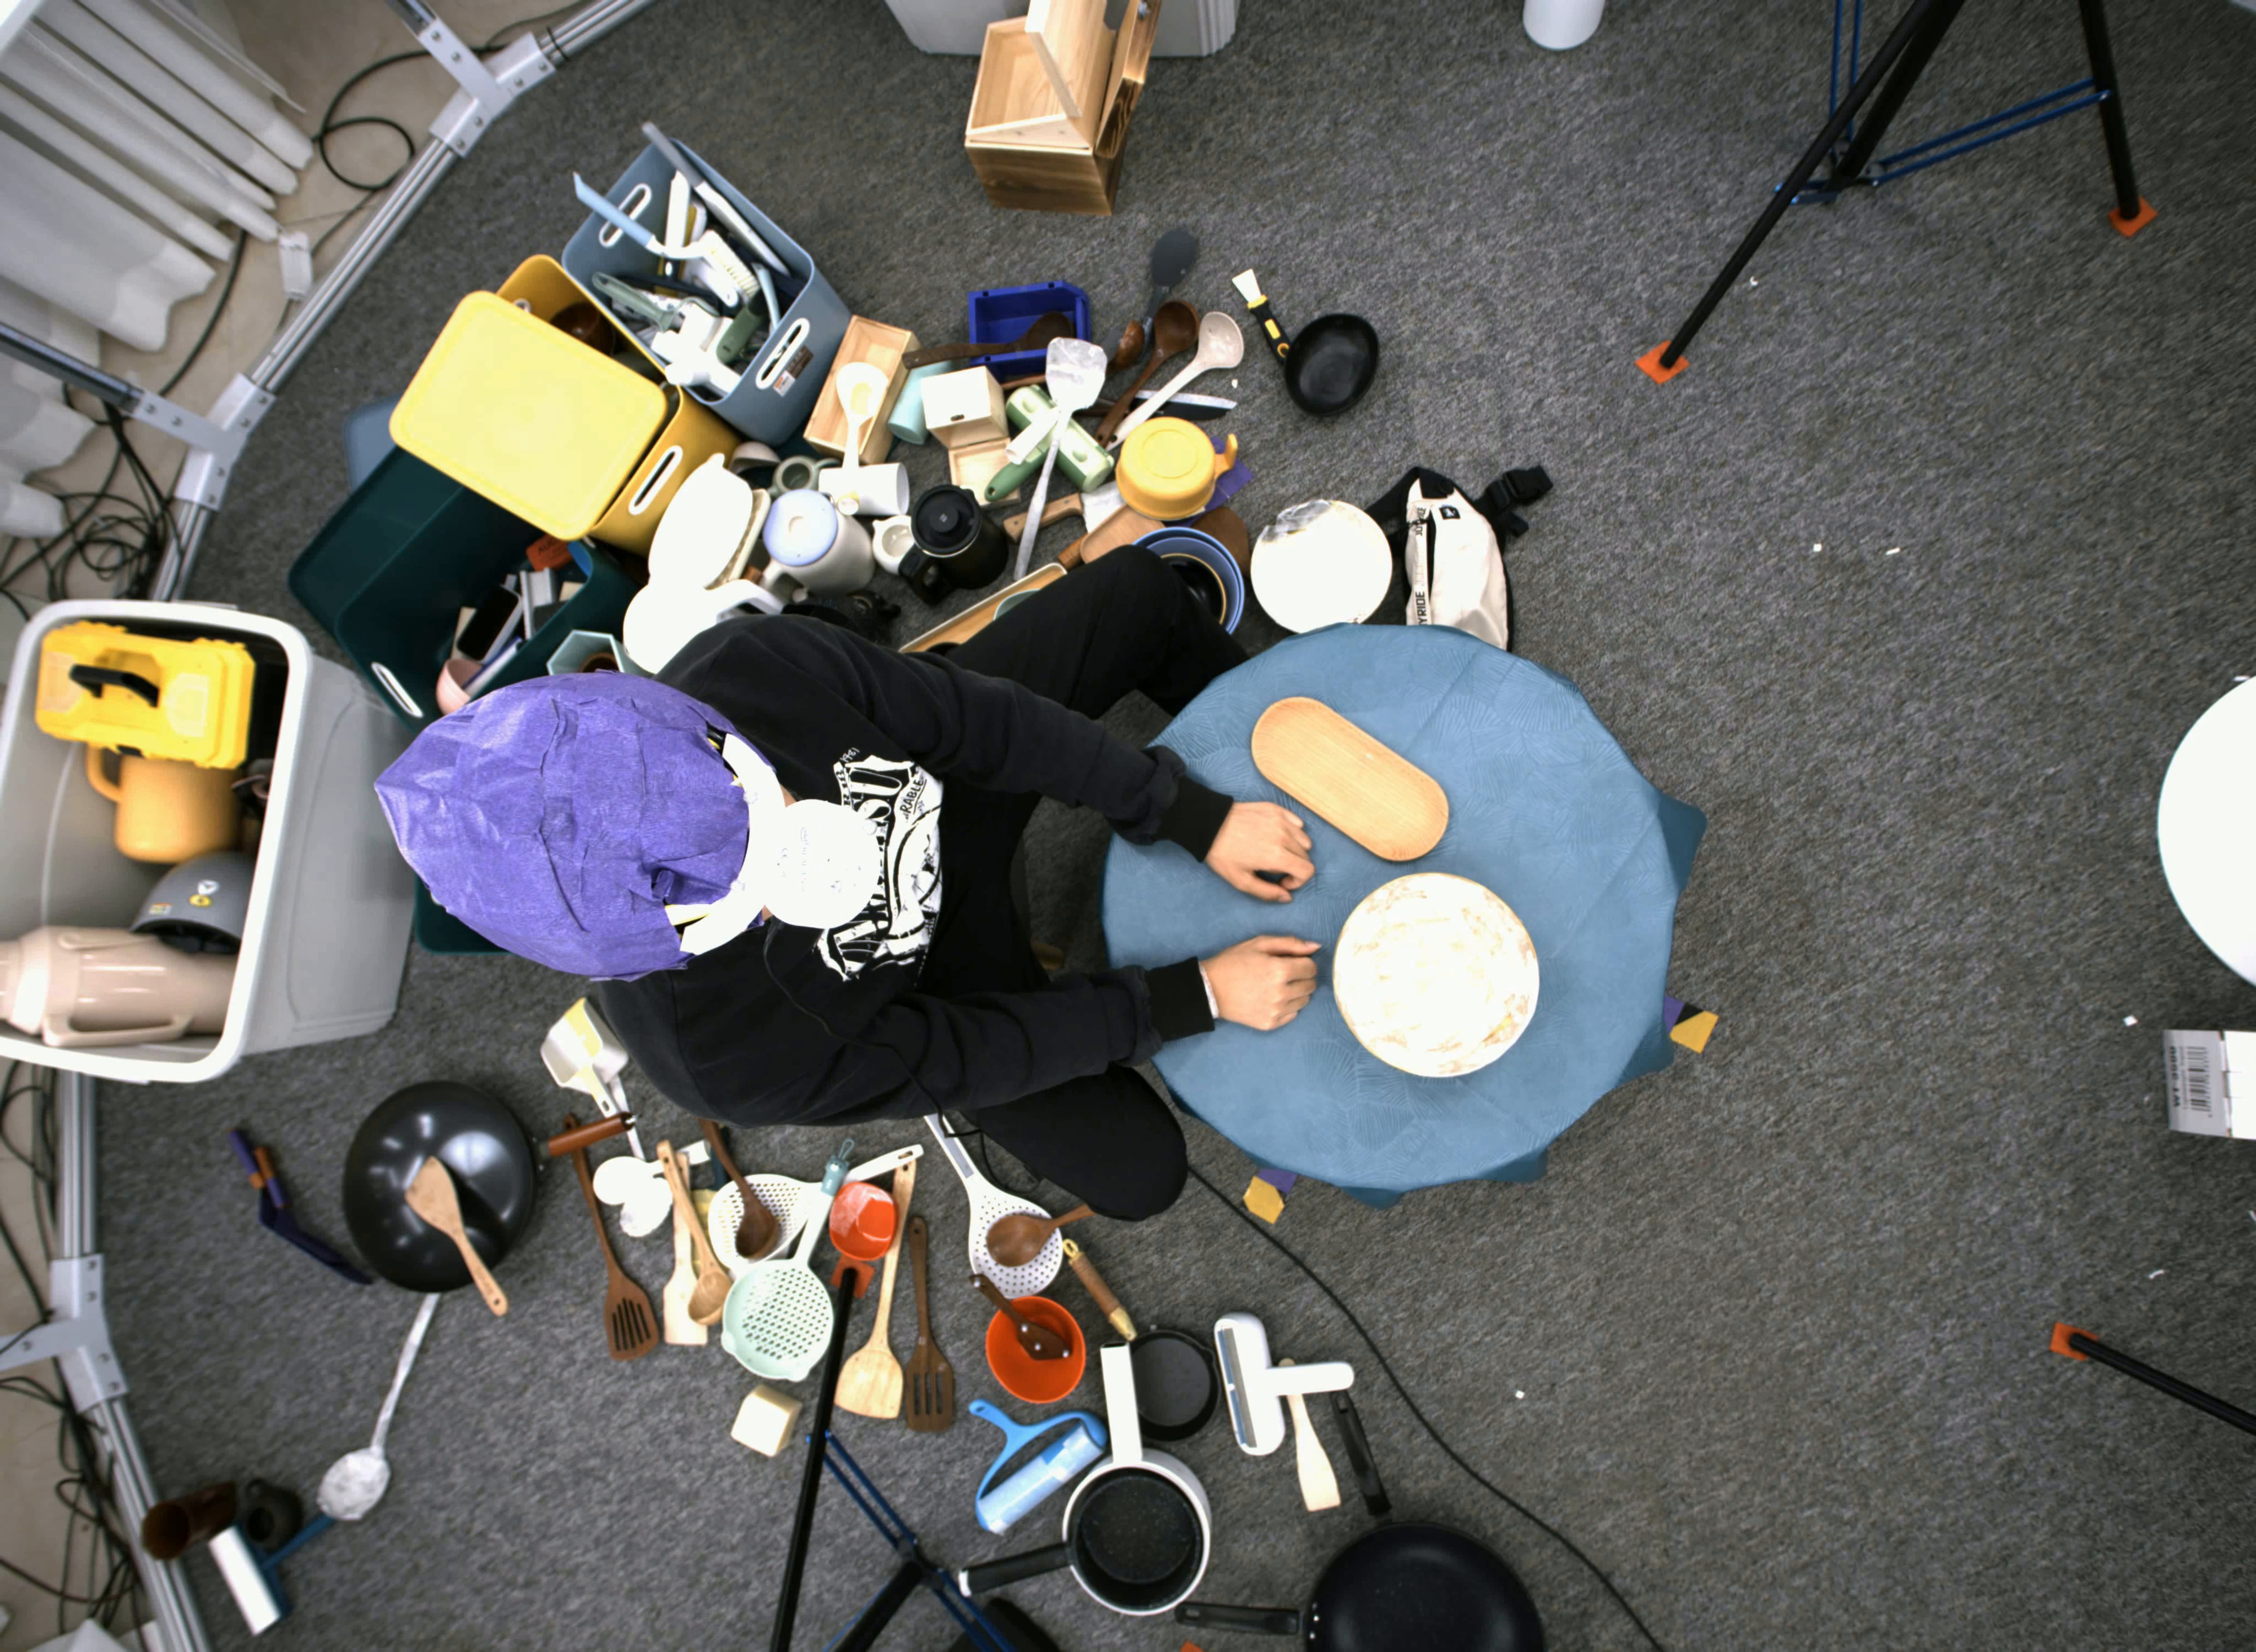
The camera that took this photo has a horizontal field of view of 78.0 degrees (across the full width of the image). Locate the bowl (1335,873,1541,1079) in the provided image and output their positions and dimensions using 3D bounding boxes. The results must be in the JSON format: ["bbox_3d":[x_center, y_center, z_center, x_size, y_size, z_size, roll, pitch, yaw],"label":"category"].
[{"bbox_3d":[0.311,0.147,1.404,0.215,0.094,0.214,-1,87,10],"label":"bowl"}]

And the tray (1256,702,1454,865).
[{"bbox_3d":[0.241,-0.047,1.471,0.230,0.020,0.102,34,95,9],"label":"tray"}]
